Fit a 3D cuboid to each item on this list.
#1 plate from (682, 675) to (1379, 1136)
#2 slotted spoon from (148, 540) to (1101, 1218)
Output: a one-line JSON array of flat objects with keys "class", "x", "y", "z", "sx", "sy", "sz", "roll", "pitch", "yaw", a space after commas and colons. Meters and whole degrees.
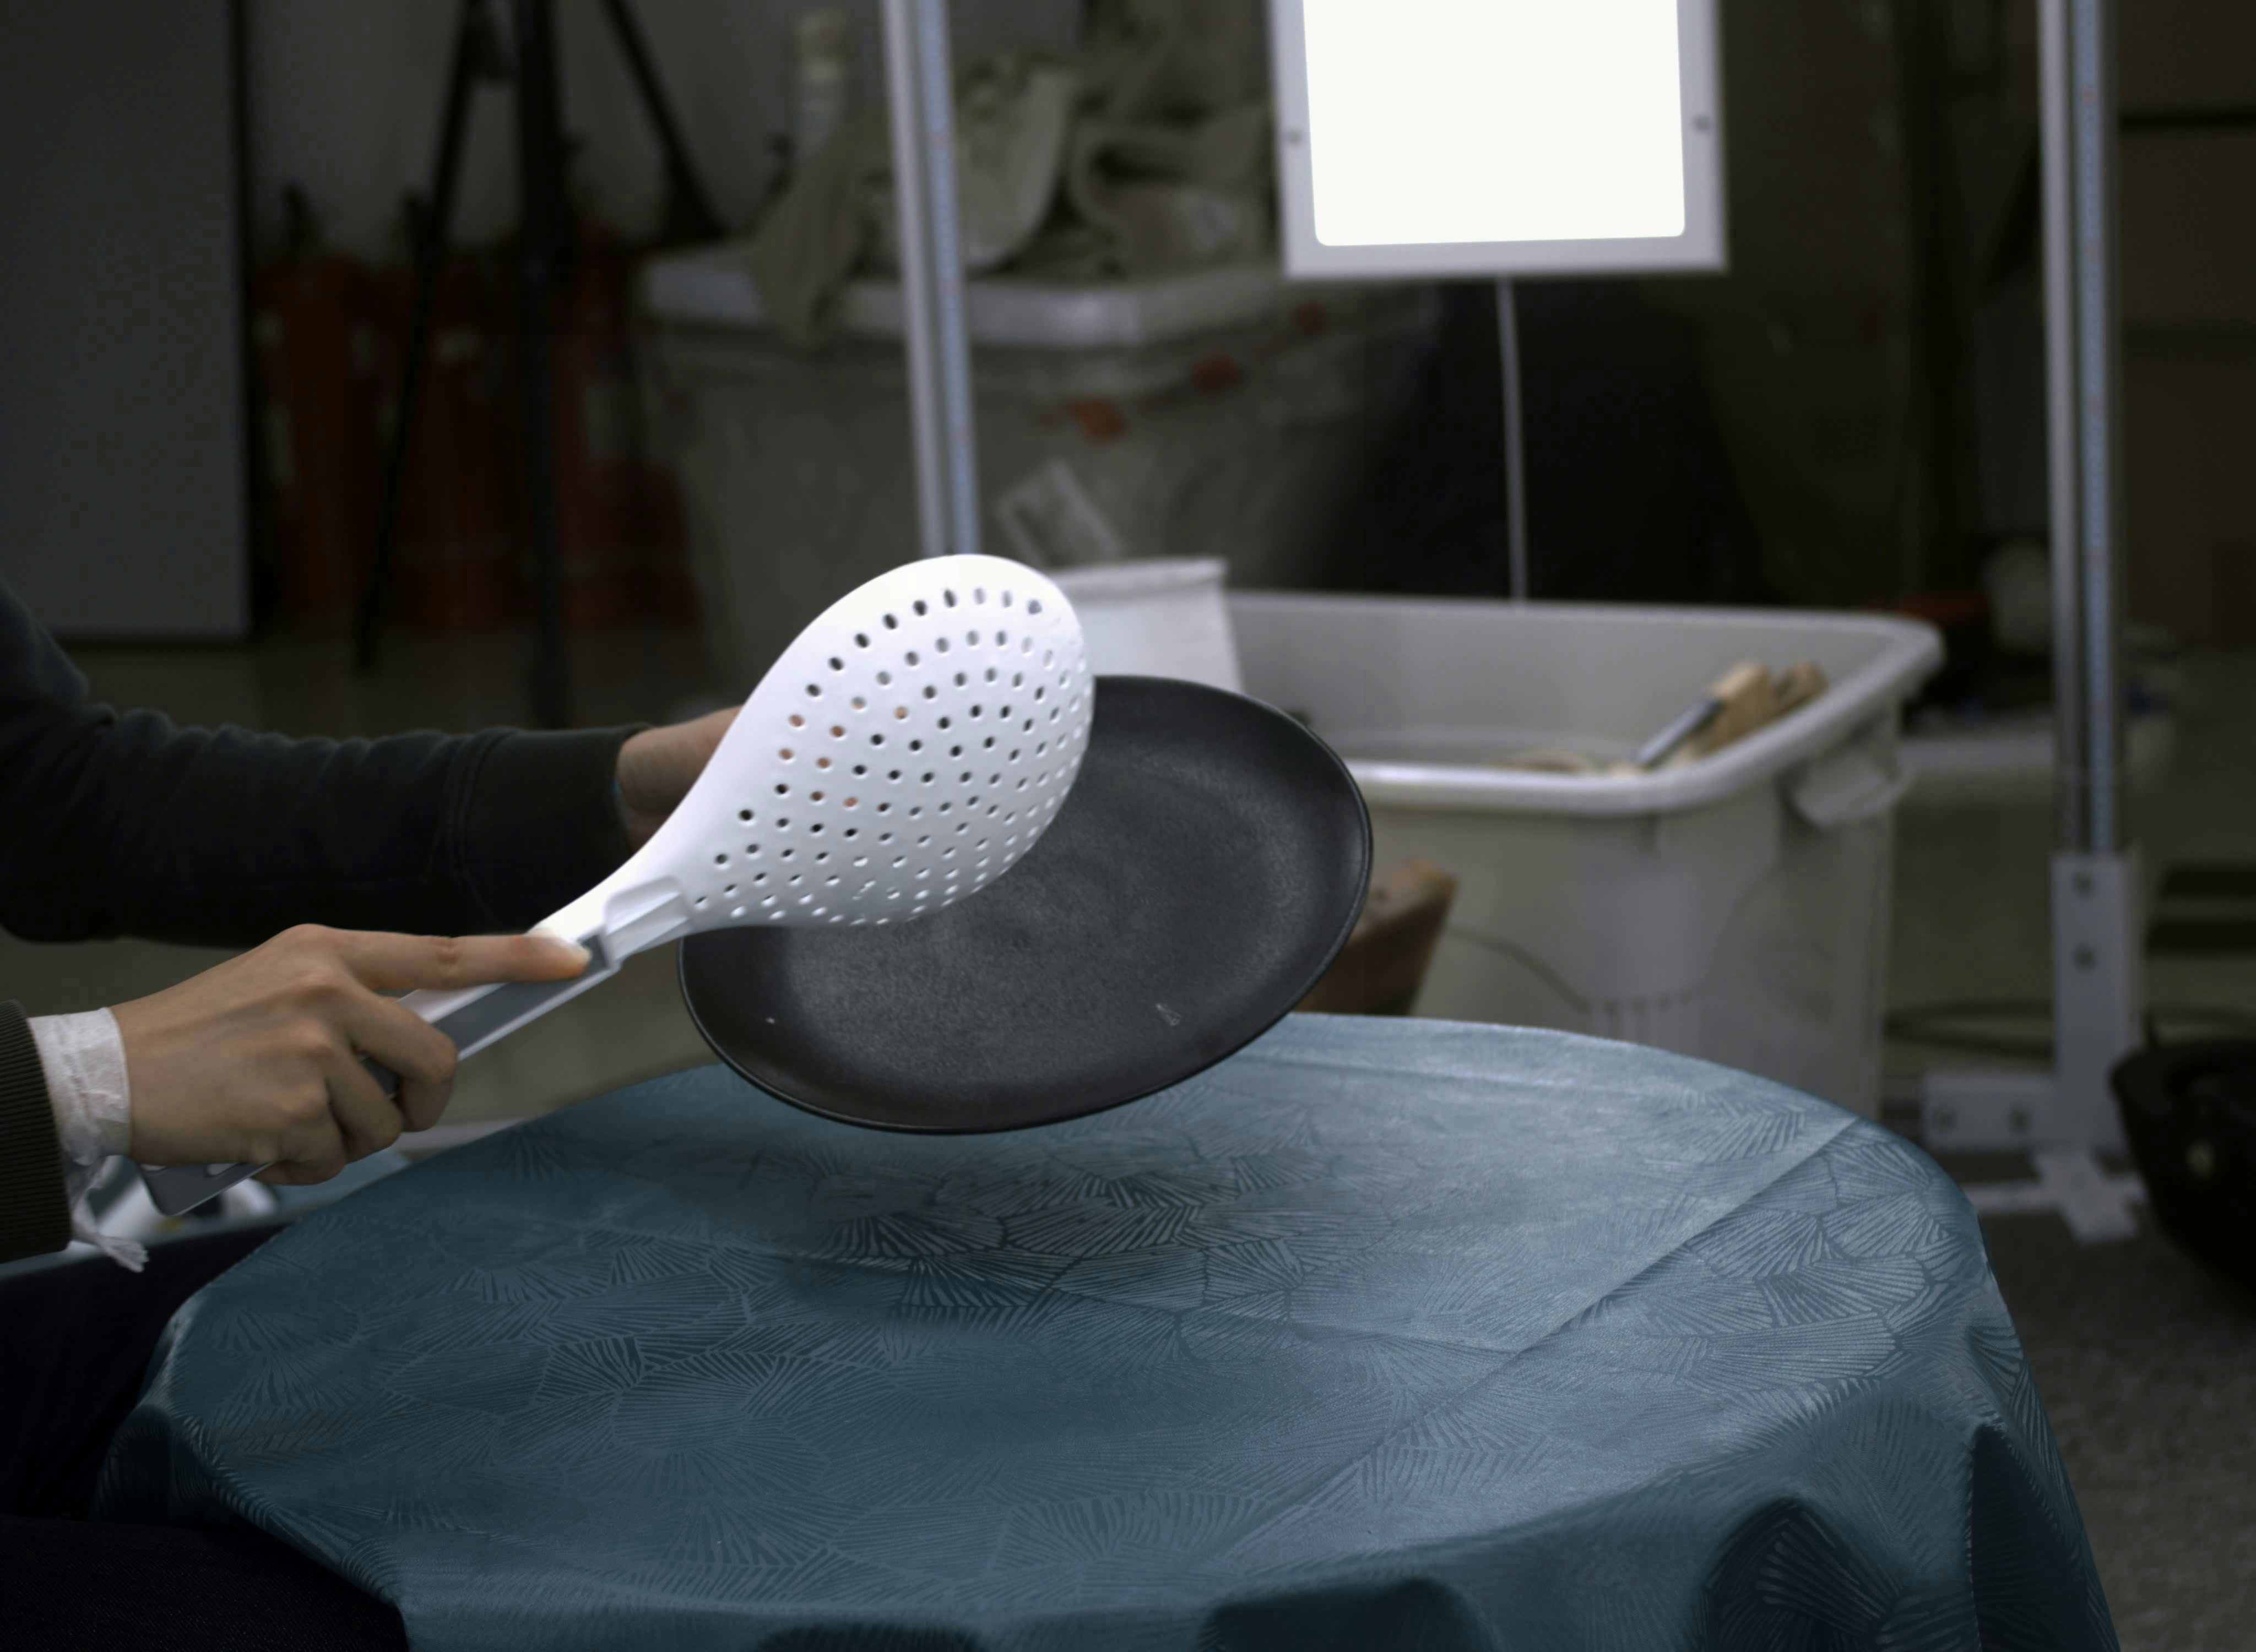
[{"class": "plate", "x": -0.032, "y": 0.031, "z": 1.885, "sx": 0.245, "sy": 0.023, "sz": 0.244, "roll": -11, "pitch": 37, "yaw": 7}, {"class": "slotted spoon", "x": -0.153, "y": 0.026, "z": 1.741, "sx": 0.346, "sy": 0.136, "sz": 0.046, "roll": -27, "pitch": 41, "yaw": -11}]
